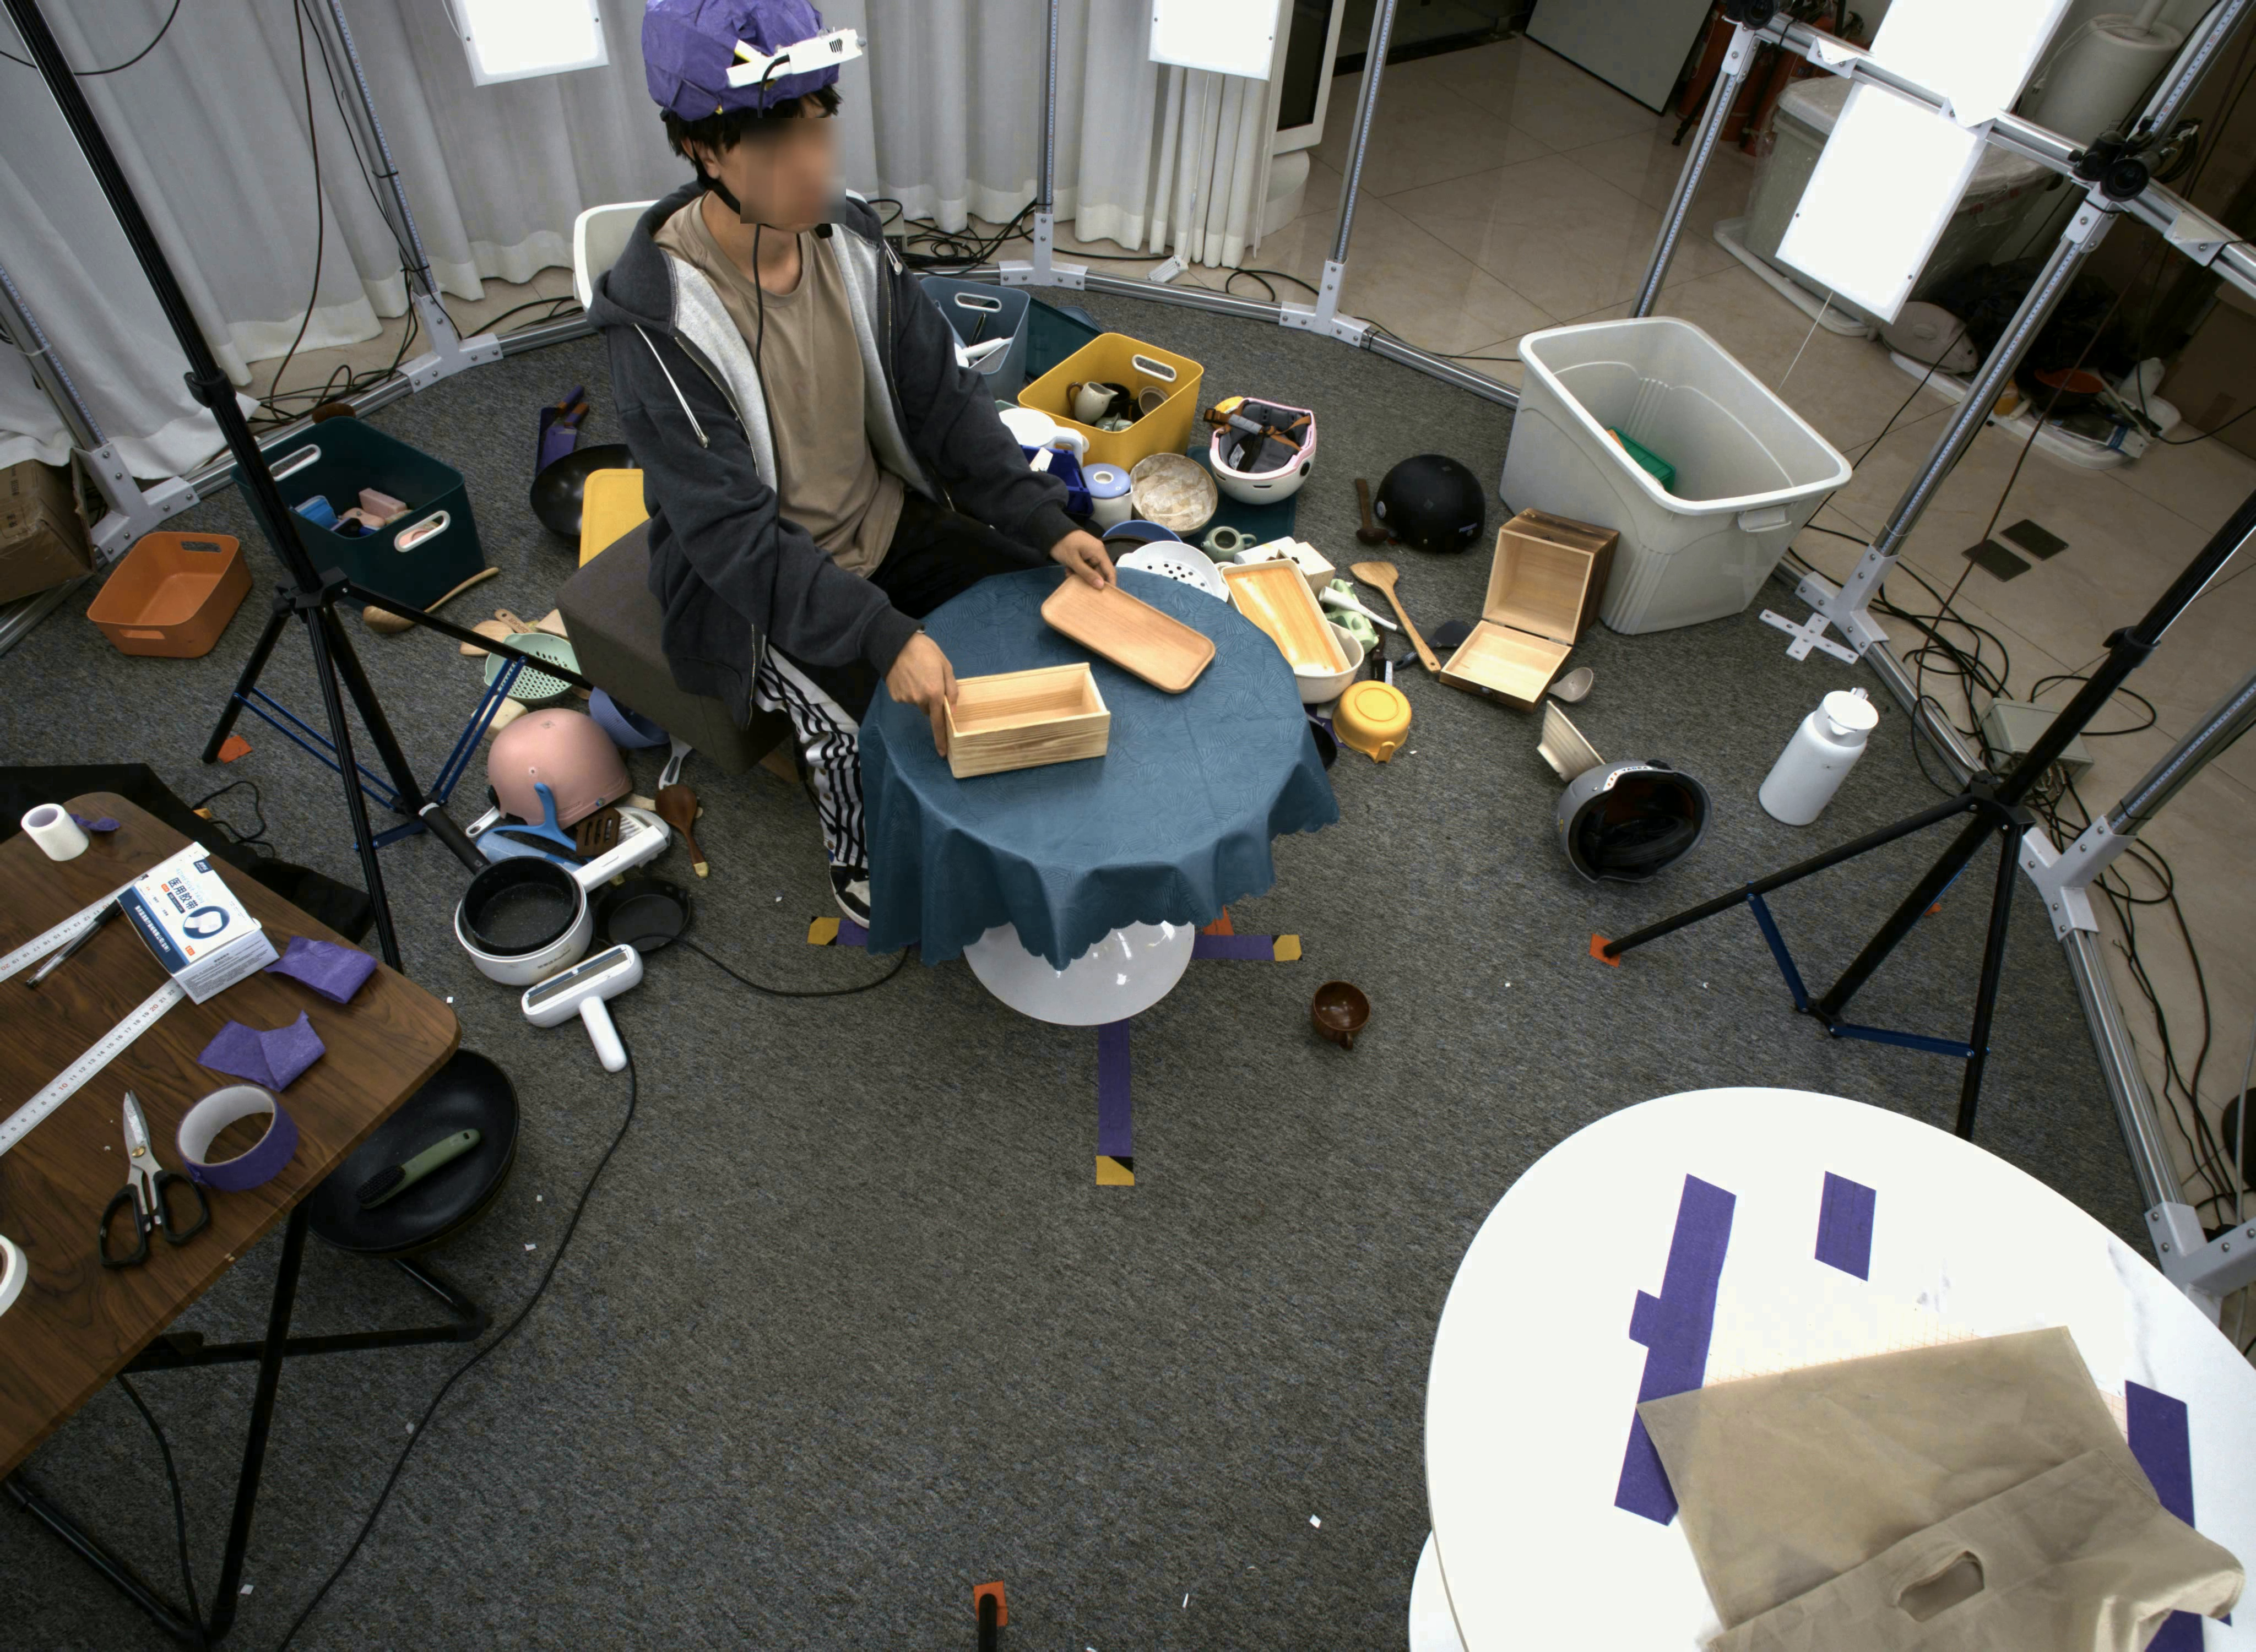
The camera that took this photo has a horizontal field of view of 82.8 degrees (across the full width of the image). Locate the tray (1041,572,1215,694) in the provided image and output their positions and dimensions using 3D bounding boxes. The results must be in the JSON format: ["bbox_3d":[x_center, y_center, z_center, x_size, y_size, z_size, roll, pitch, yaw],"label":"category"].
[{"bbox_3d":[0.000,-0.284,1.884,0.252,0.022,0.132,31,51,14],"label":"tray"}]

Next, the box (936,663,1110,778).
[{"bbox_3d":[-0.142,-0.144,1.724,0.211,0.078,0.110,-10,50,-15],"label":"box"}]
